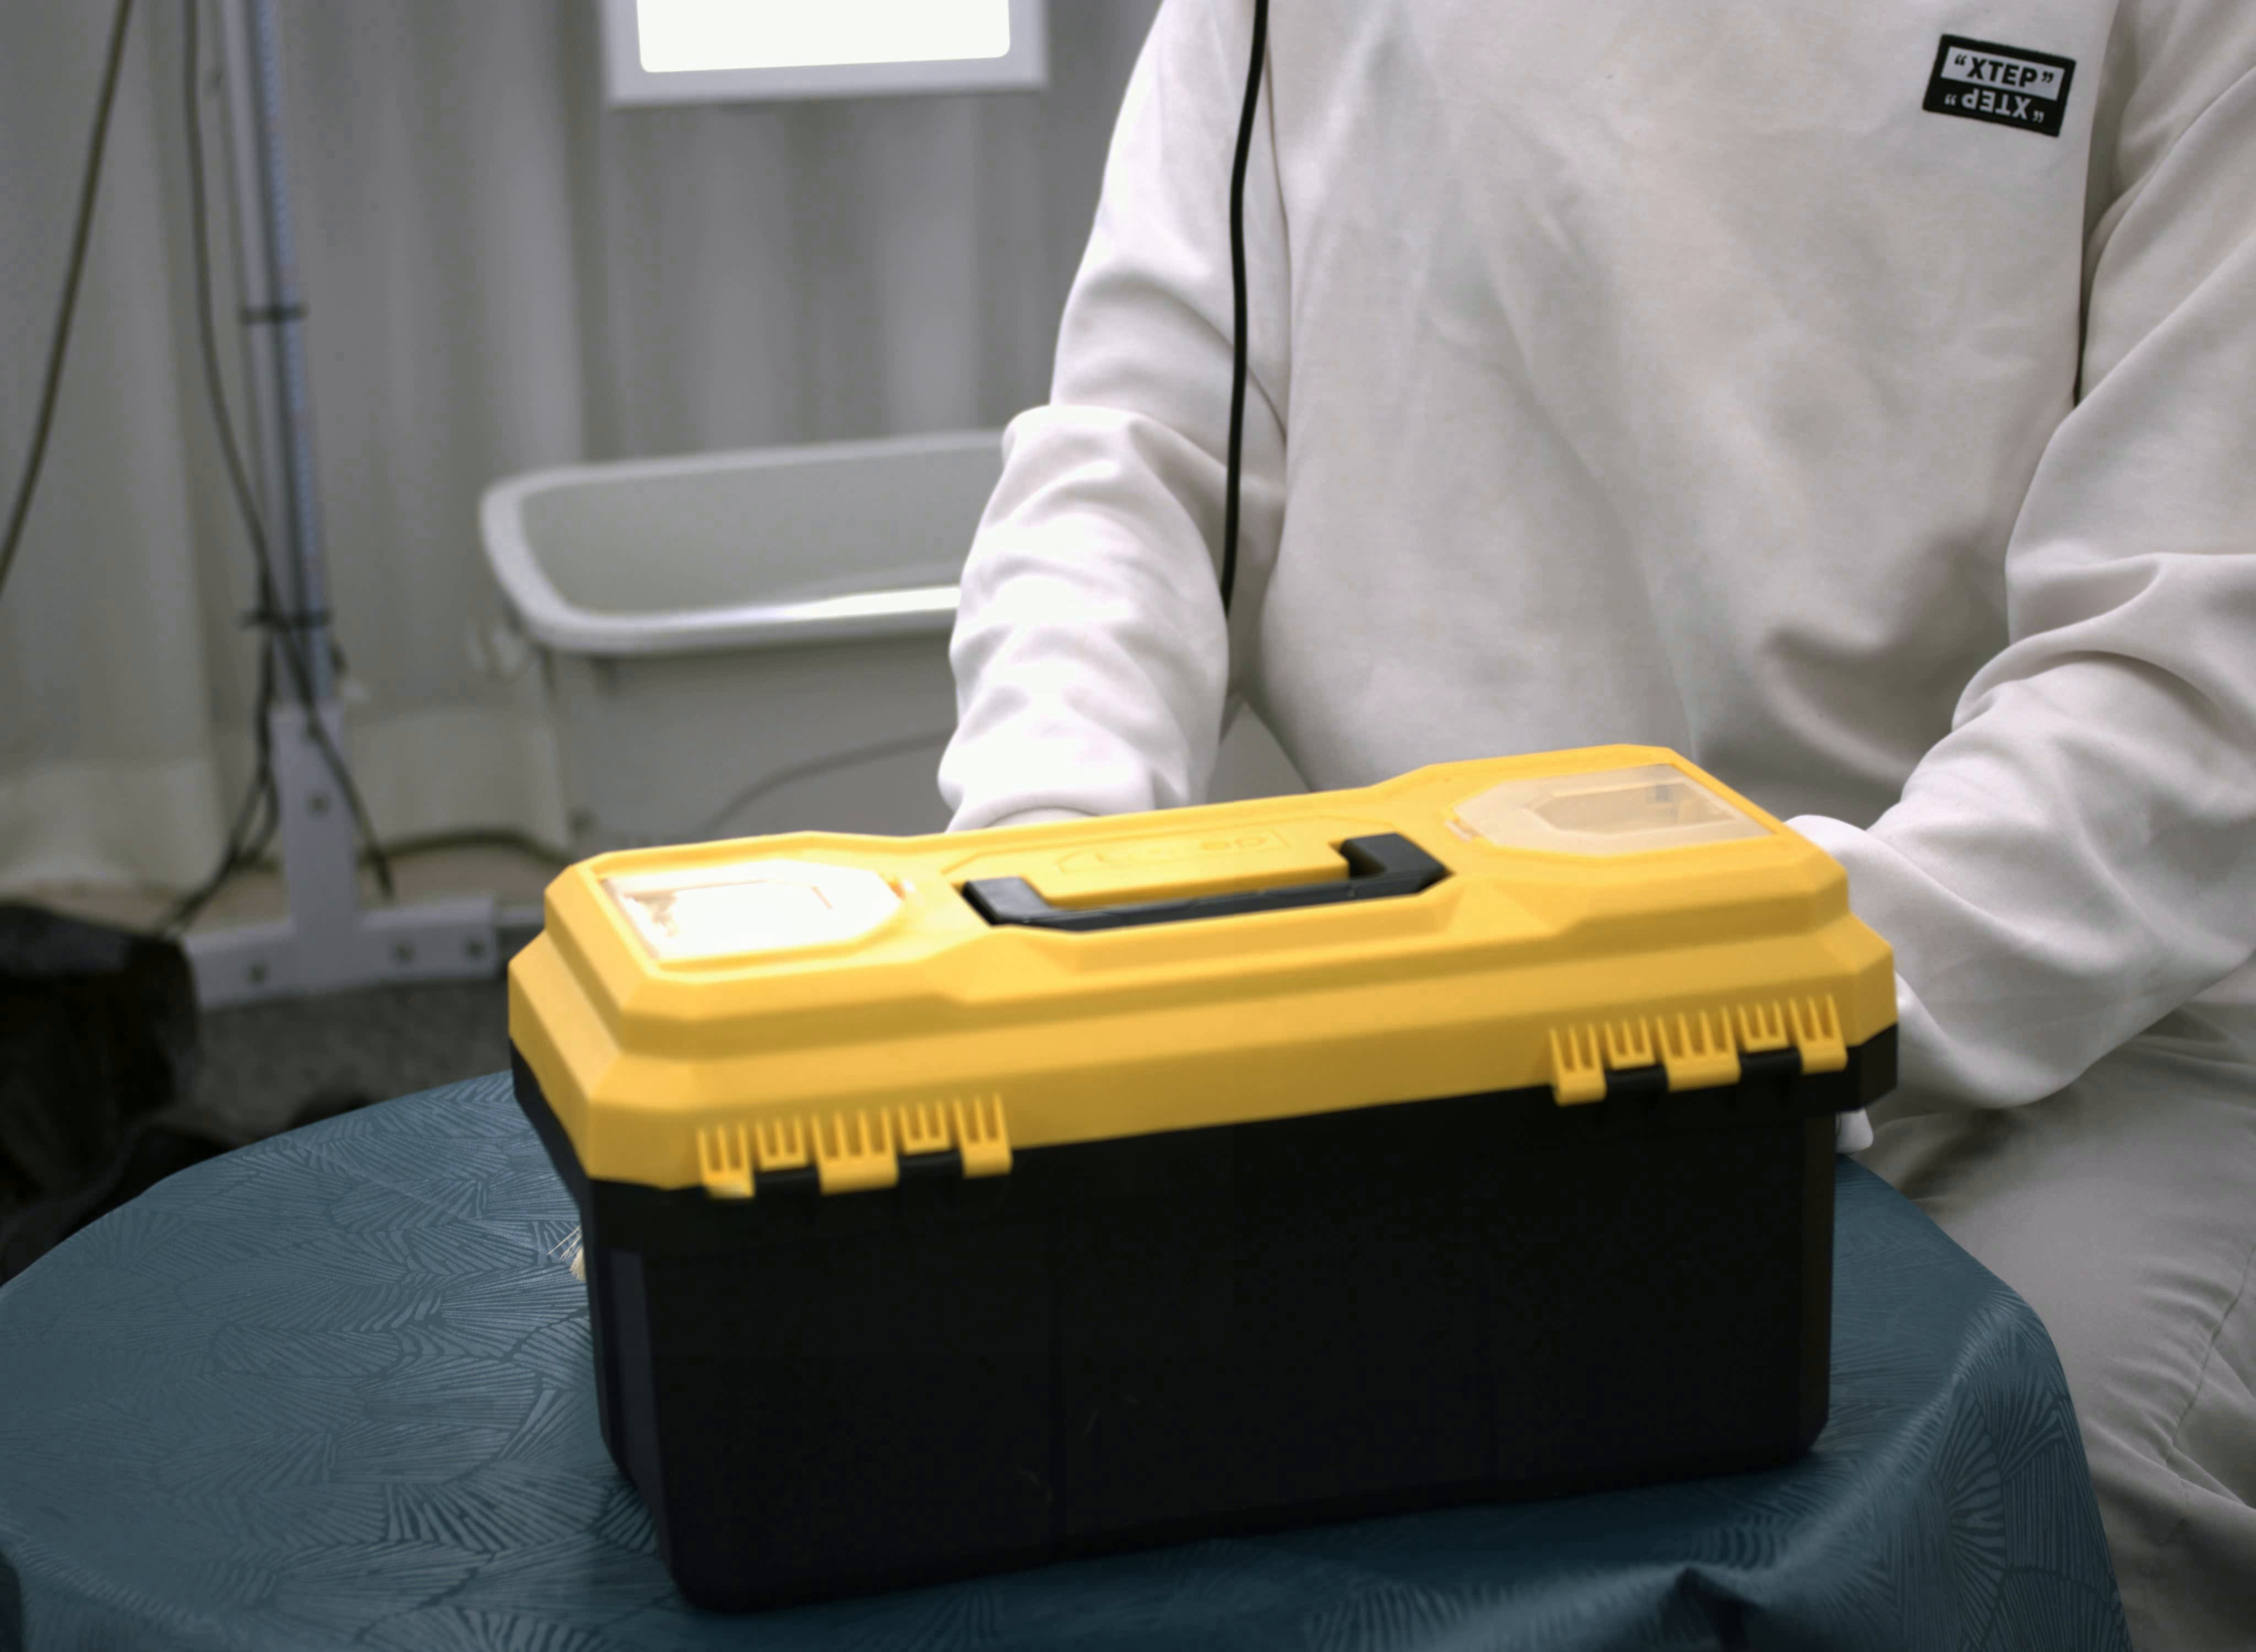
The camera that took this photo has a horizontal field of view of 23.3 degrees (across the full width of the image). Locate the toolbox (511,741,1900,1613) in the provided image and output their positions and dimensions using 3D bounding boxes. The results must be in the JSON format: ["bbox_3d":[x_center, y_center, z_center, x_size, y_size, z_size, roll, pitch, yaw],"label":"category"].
[{"bbox_3d":[0.019,0.090,1.473,0.350,0.172,0.183,-6,16,-13],"label":"toolbox"}]

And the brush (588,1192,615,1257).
[{"bbox_3d":[-0.136,0.111,1.730,0.068,0.056,0.266,16,-2,-7],"label":"brush"}]
